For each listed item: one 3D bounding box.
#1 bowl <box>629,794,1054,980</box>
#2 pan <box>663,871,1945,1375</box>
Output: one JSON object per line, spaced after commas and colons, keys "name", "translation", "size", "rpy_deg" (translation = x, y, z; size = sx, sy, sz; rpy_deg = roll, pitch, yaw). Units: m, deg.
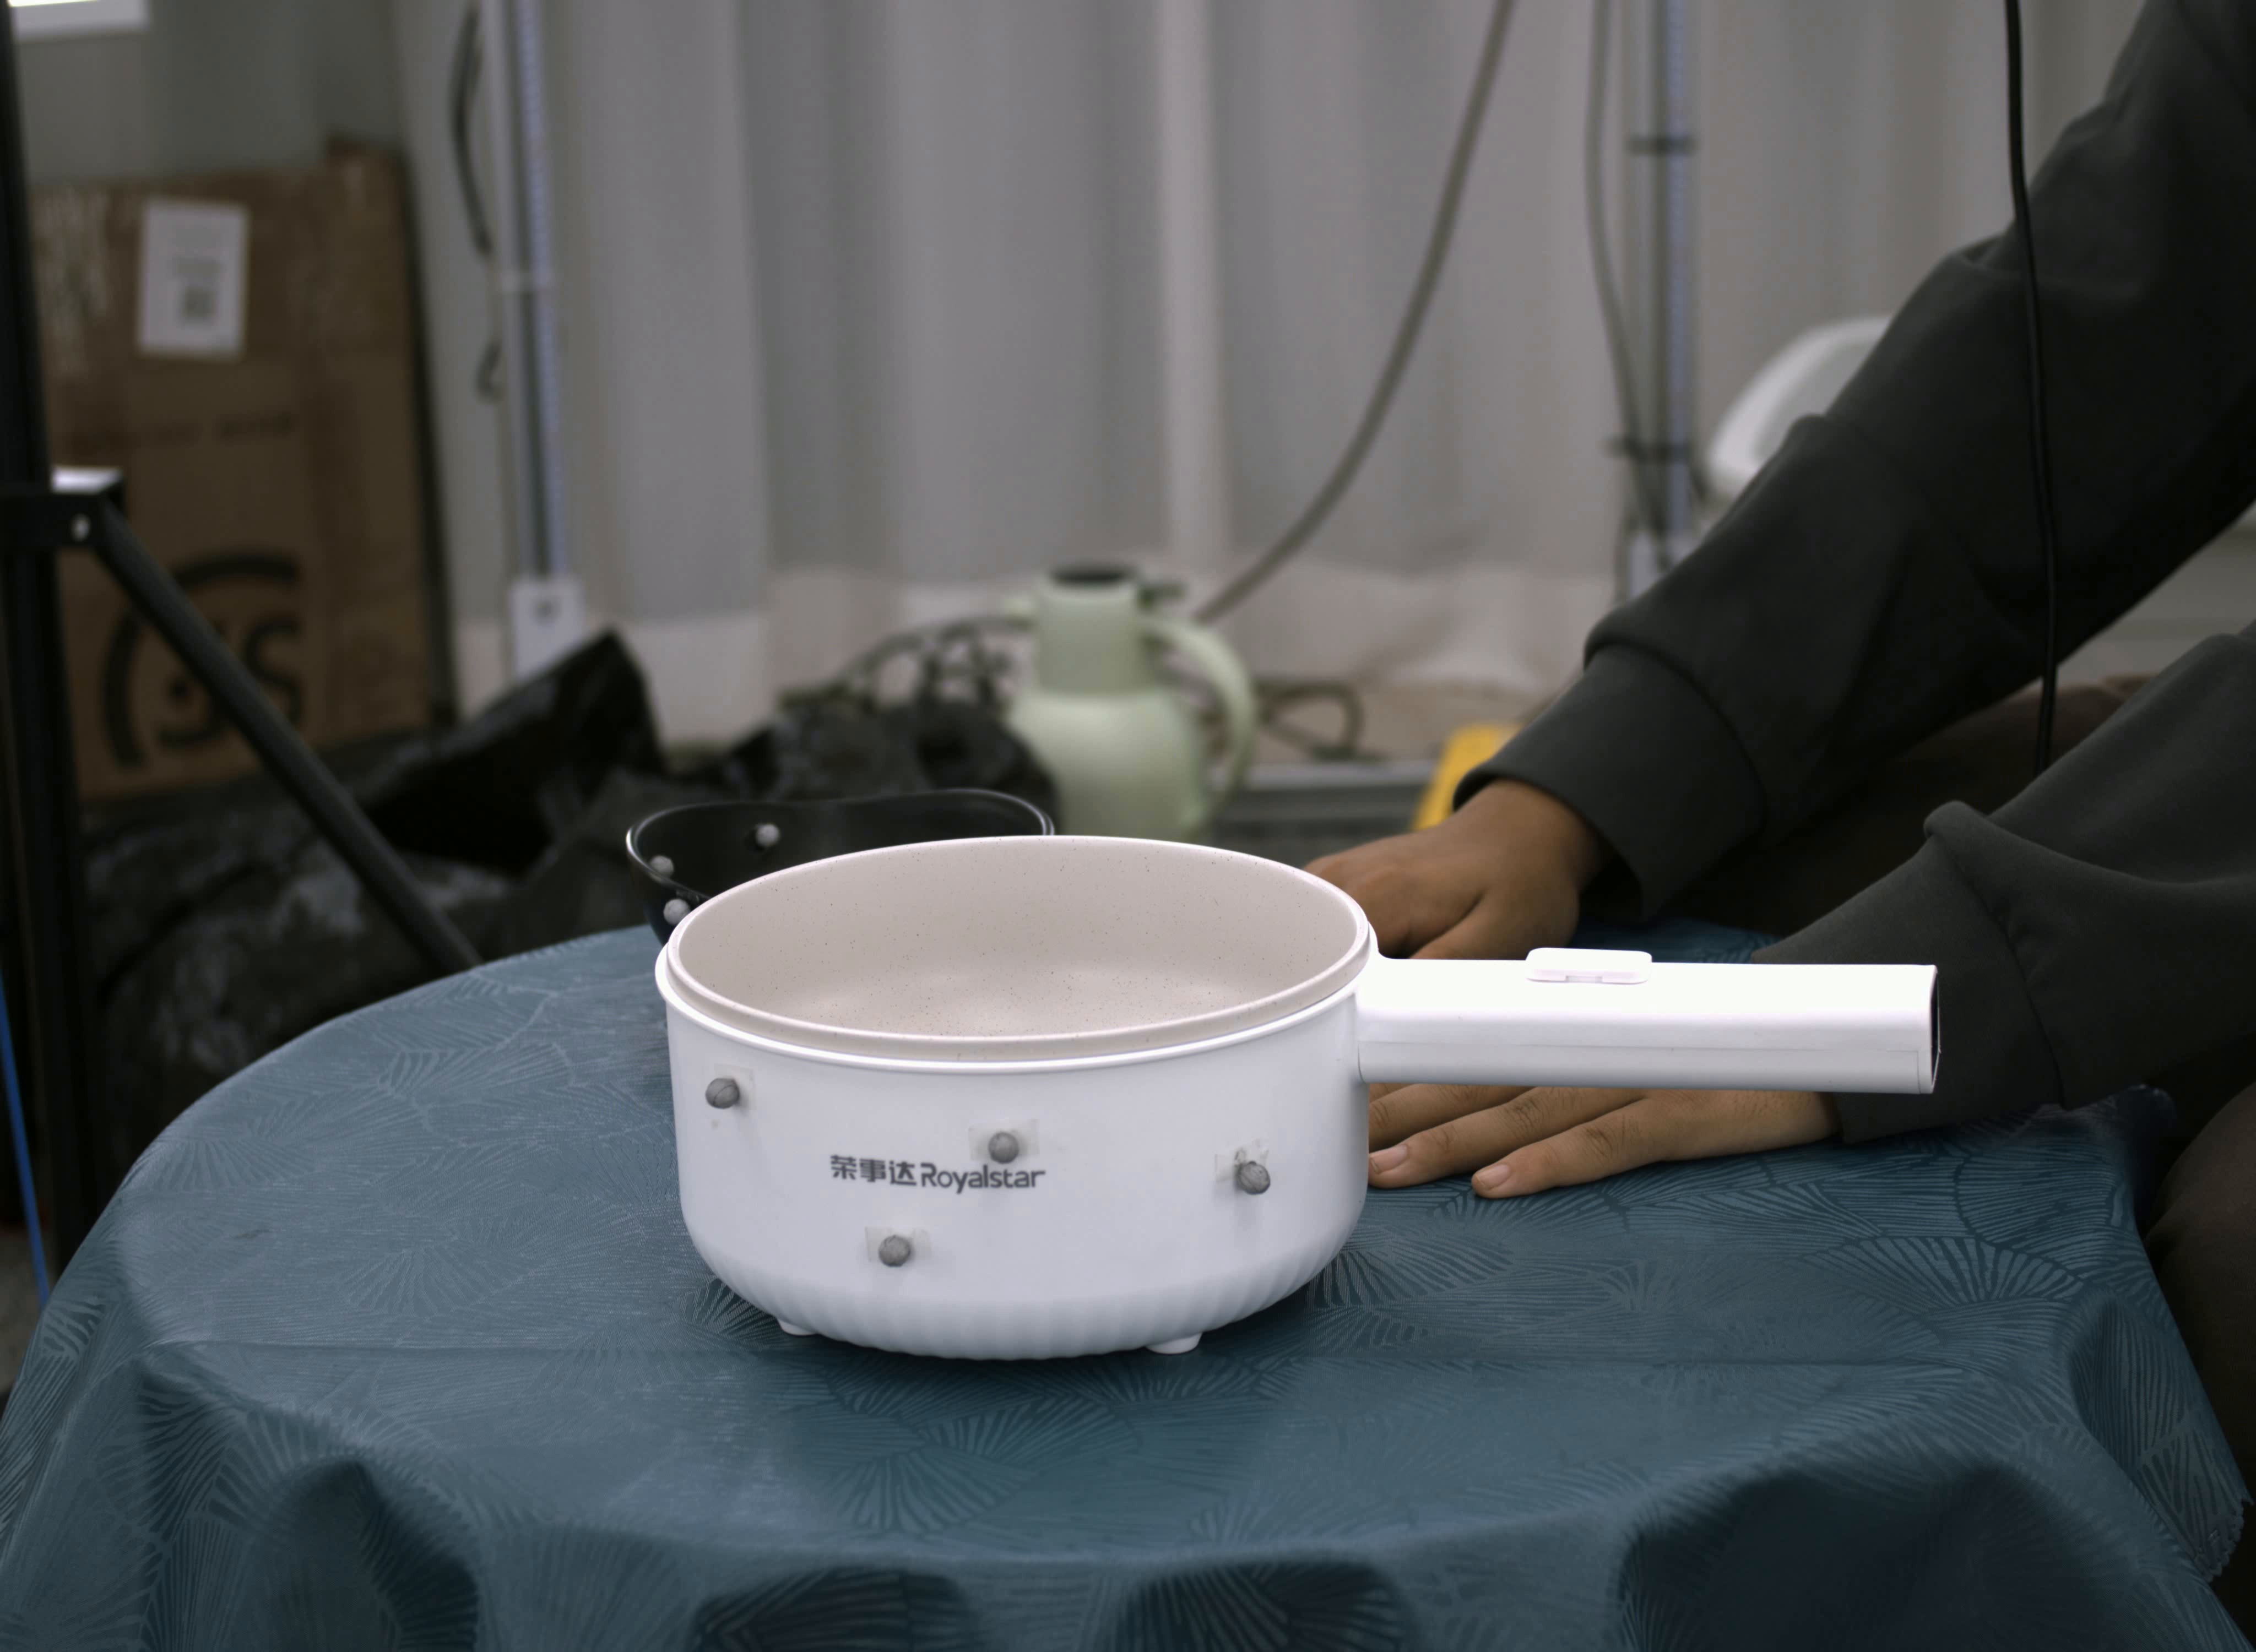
{"name": "bowl", "translation": [-0.091, 0.032, 1.722], "size": [0.136, 0.067, 0.172], "rpy_deg": [-4, 14, -6]}
{"name": "pan", "translation": [0.046, 0.088, 1.468], "size": [0.357, 0.102, 0.200], "rpy_deg": [3, 13, 12]}
